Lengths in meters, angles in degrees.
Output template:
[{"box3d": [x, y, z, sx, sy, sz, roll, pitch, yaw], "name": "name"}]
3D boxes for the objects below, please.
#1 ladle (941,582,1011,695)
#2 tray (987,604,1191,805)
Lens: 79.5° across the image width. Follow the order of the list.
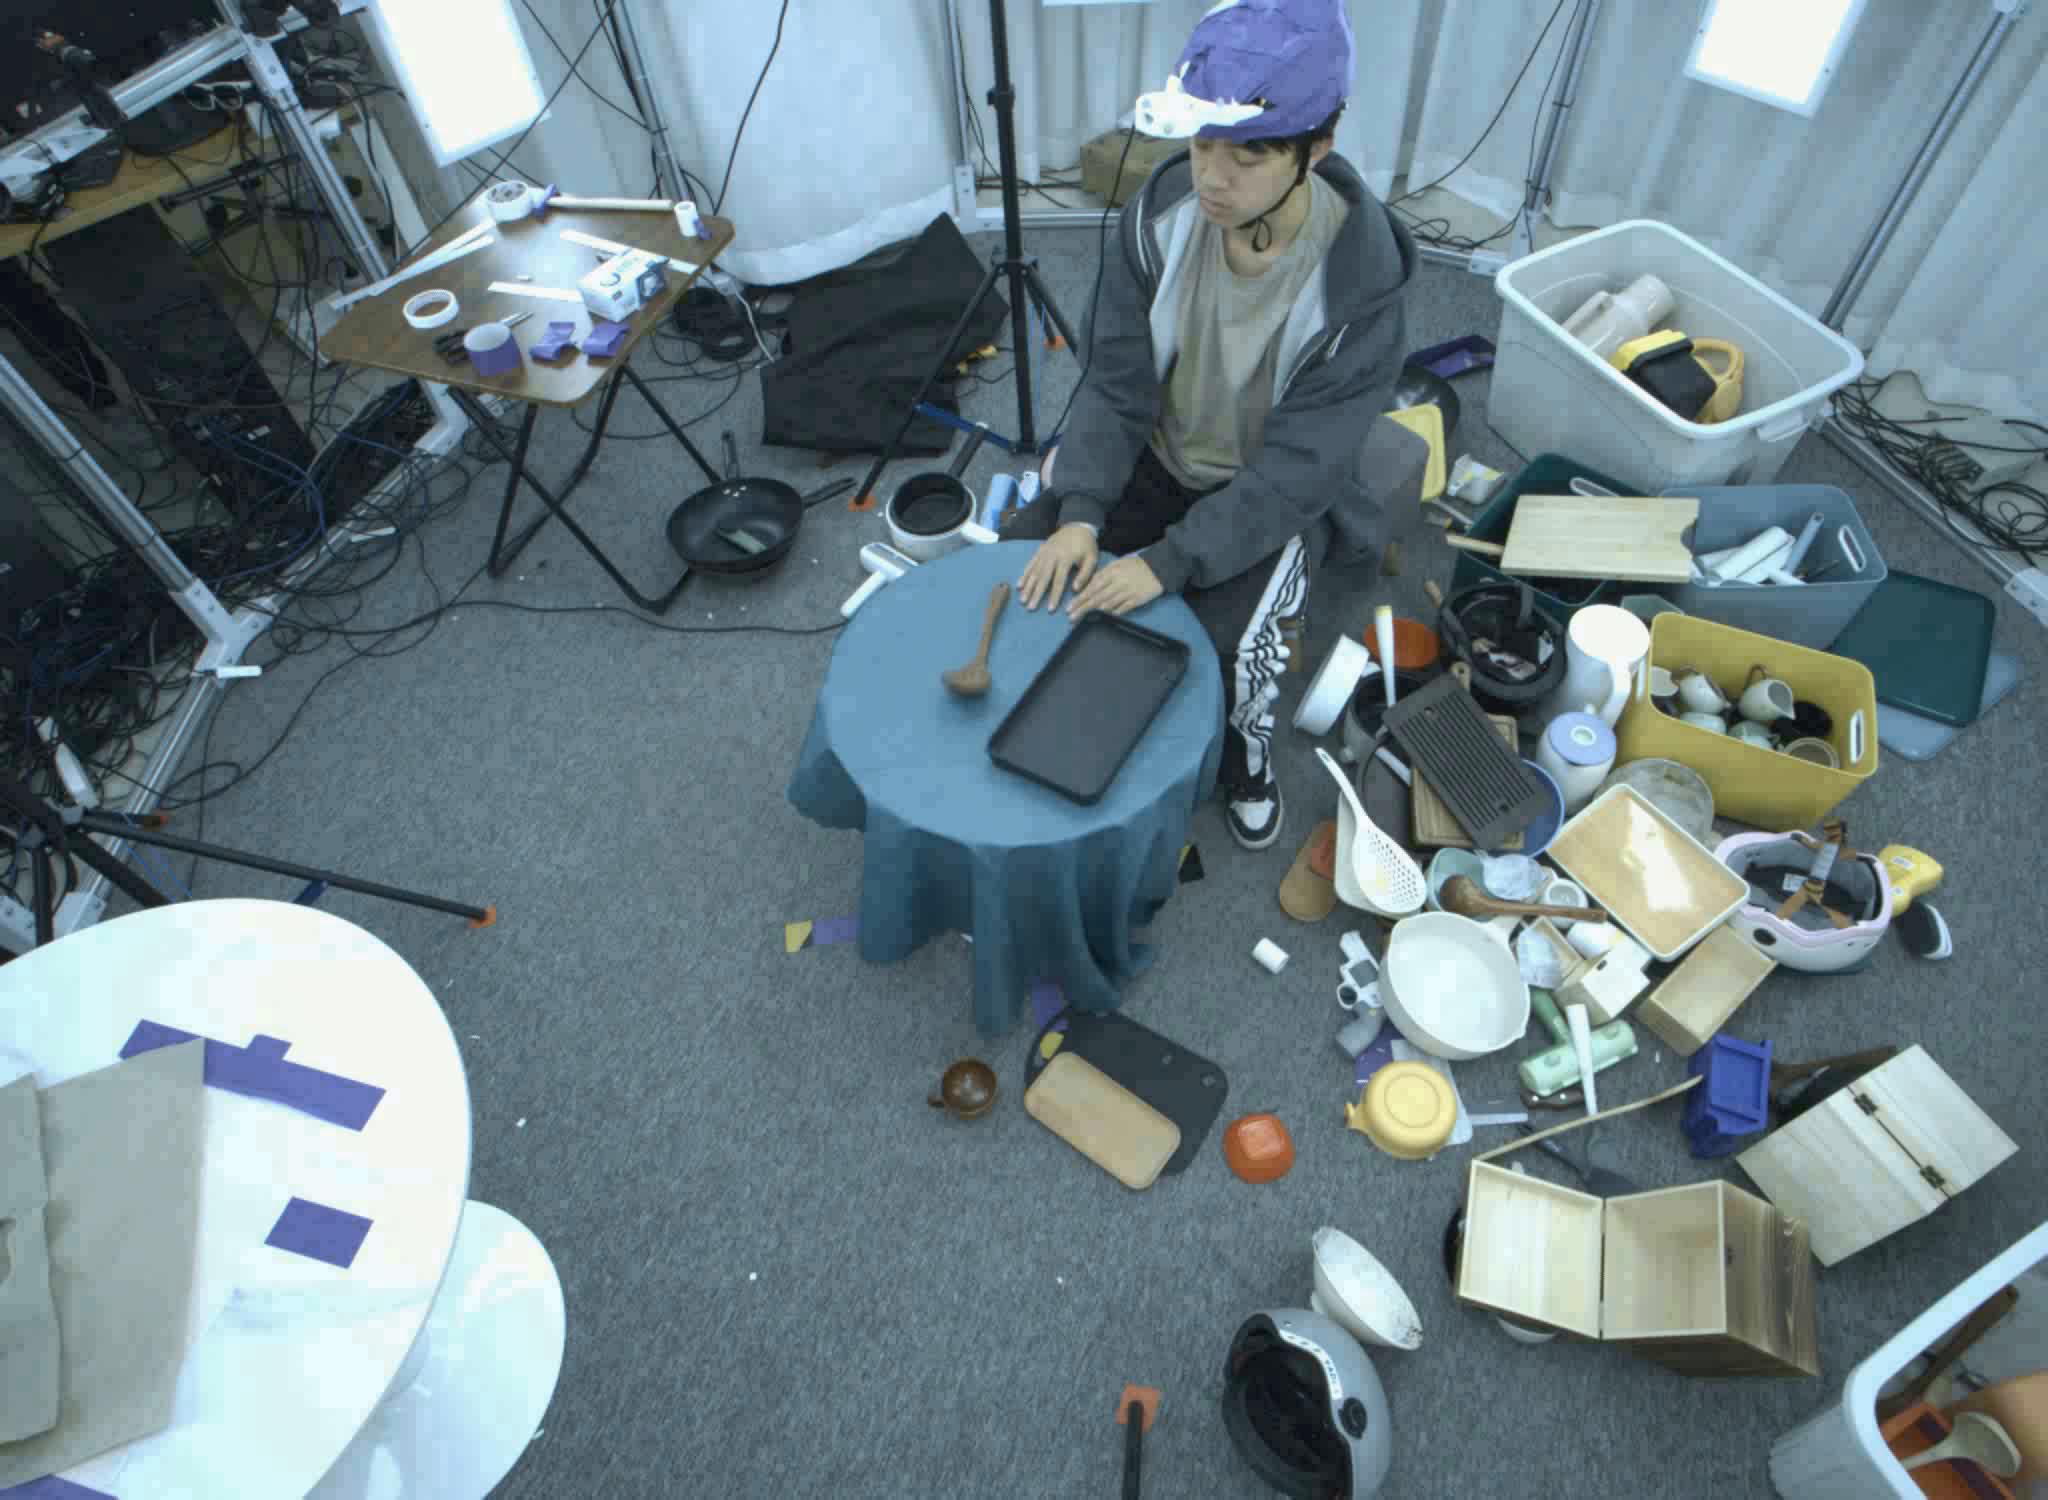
[{"box3d": [-0.063, -0.182, 1.882, 0.076, 0.066, 0.259, 9, 55, 11], "name": "ladle"}, {"box3d": [0.099, -0.073, 1.812, 0.182, 0.037, 0.319, 25, 61, 19], "name": "tray"}]
